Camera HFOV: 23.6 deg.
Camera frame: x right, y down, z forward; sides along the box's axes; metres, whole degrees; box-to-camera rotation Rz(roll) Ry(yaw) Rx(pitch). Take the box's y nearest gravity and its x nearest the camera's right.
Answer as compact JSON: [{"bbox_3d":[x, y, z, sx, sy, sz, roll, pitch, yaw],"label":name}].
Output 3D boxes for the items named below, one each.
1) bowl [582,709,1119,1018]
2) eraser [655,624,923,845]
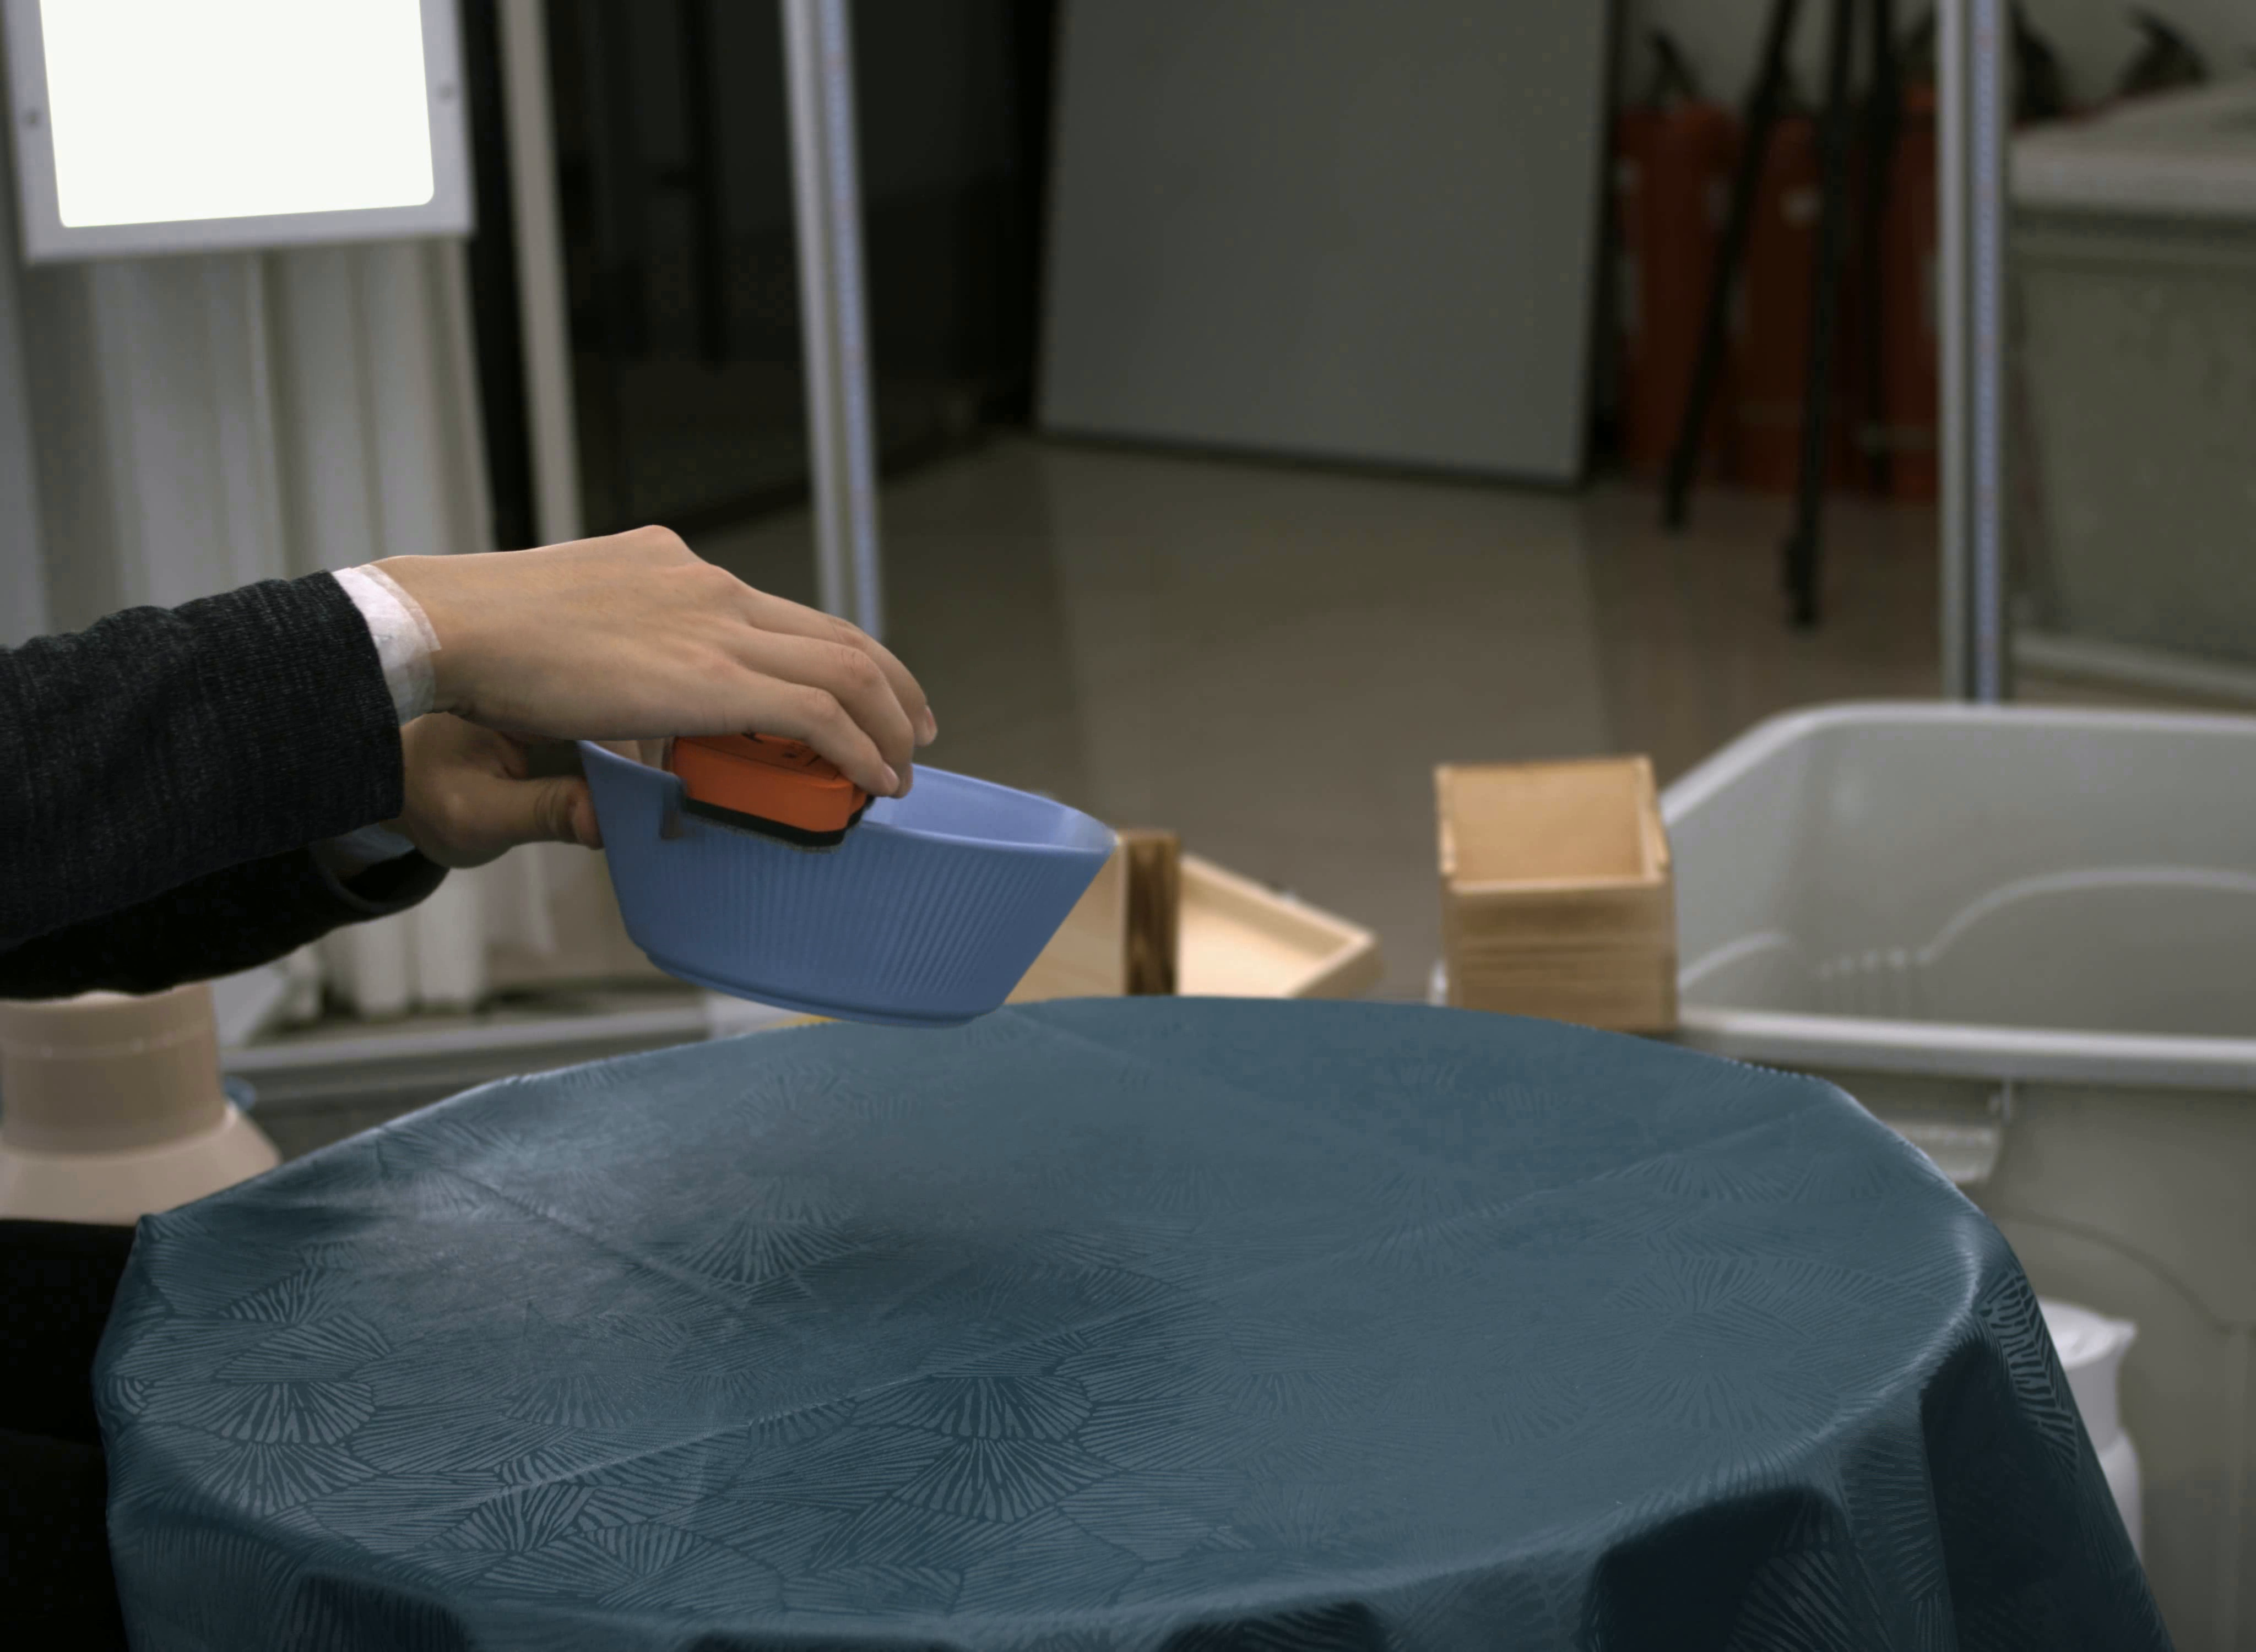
[{"bbox_3d":[-0.094,0.014,1.714,0.174,0.071,0.176,12,5,-2],"label":"bowl"},{"bbox_3d":[-0.102,-0.028,1.639,0.058,0.023,0.107,14,25,8],"label":"eraser"}]
